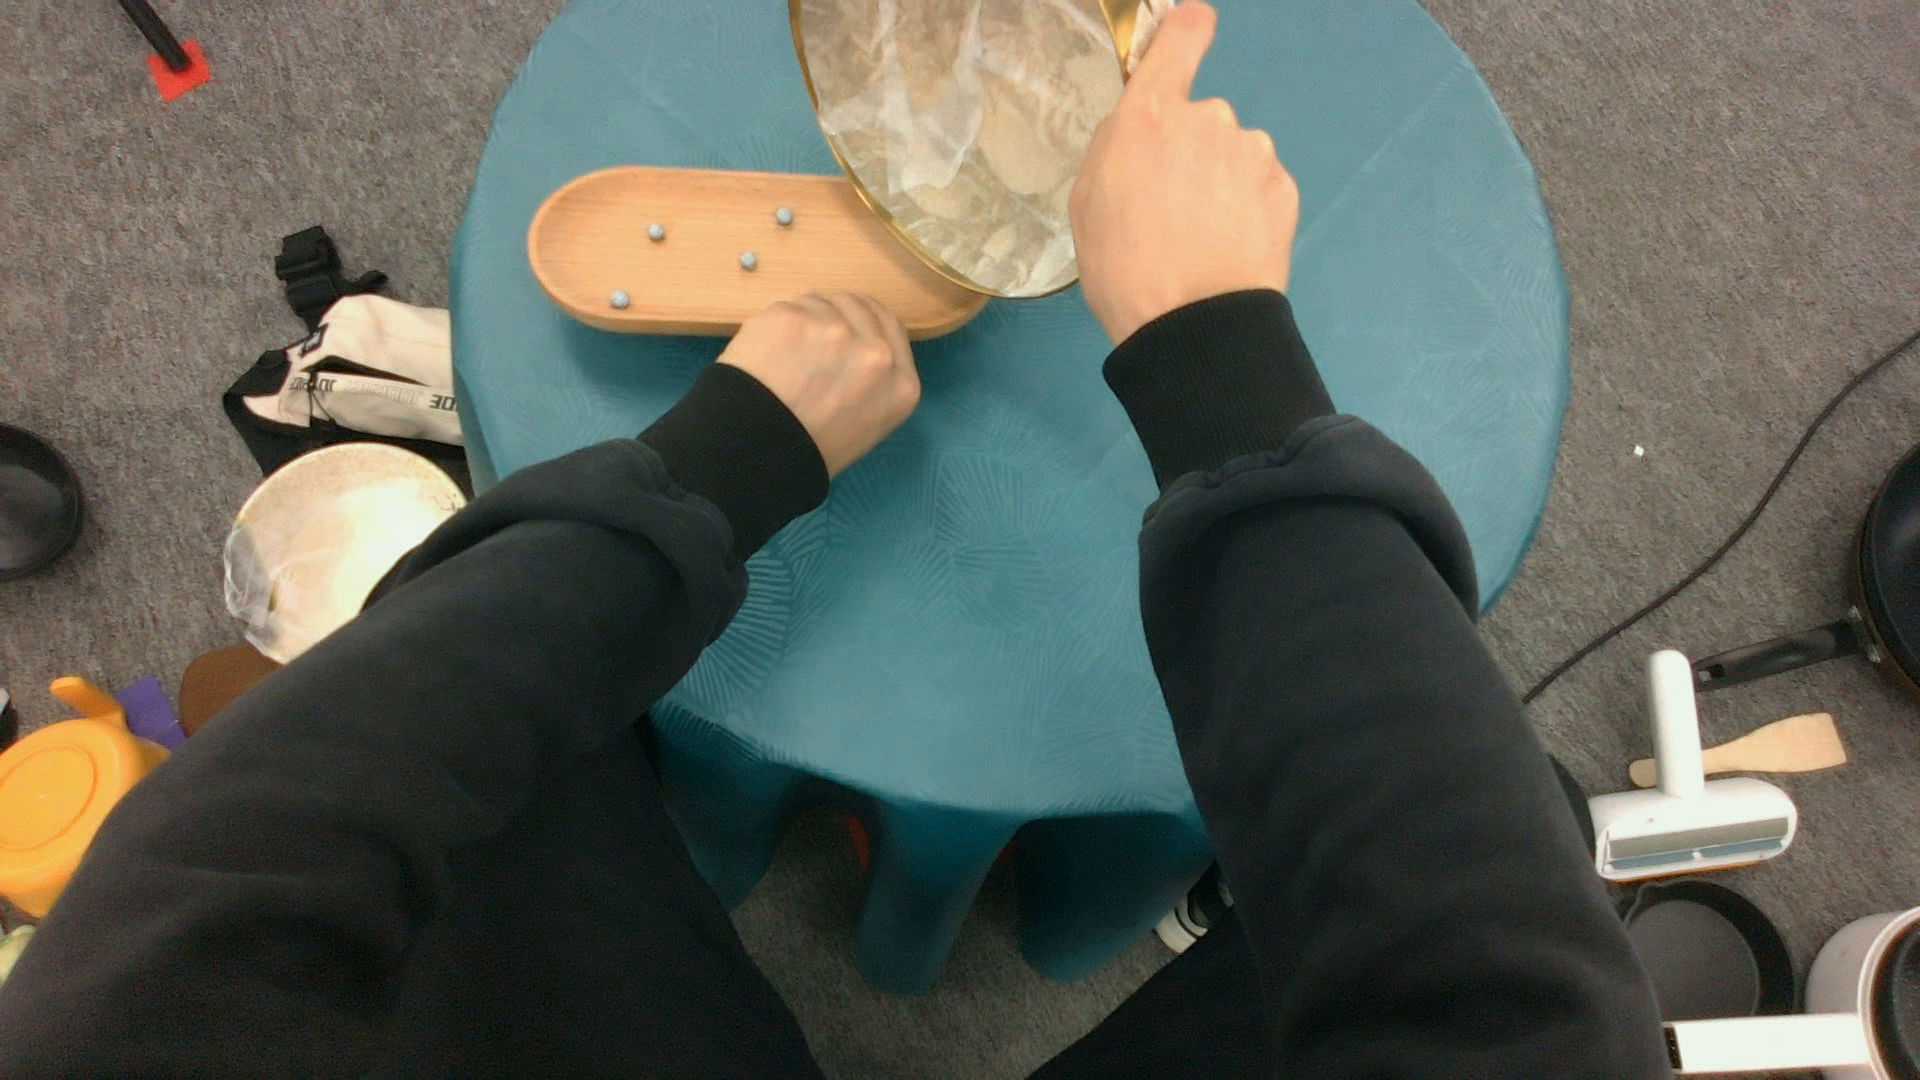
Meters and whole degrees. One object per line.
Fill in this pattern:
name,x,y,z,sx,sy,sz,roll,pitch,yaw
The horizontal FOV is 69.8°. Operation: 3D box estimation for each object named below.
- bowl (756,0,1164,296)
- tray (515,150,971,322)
bowl,0.014,-0.223,0.620,0.215,0.213,0.095,44,56,10
tray,-0.103,-0.152,0.691,0.231,0.020,0.102,0,61,-10
